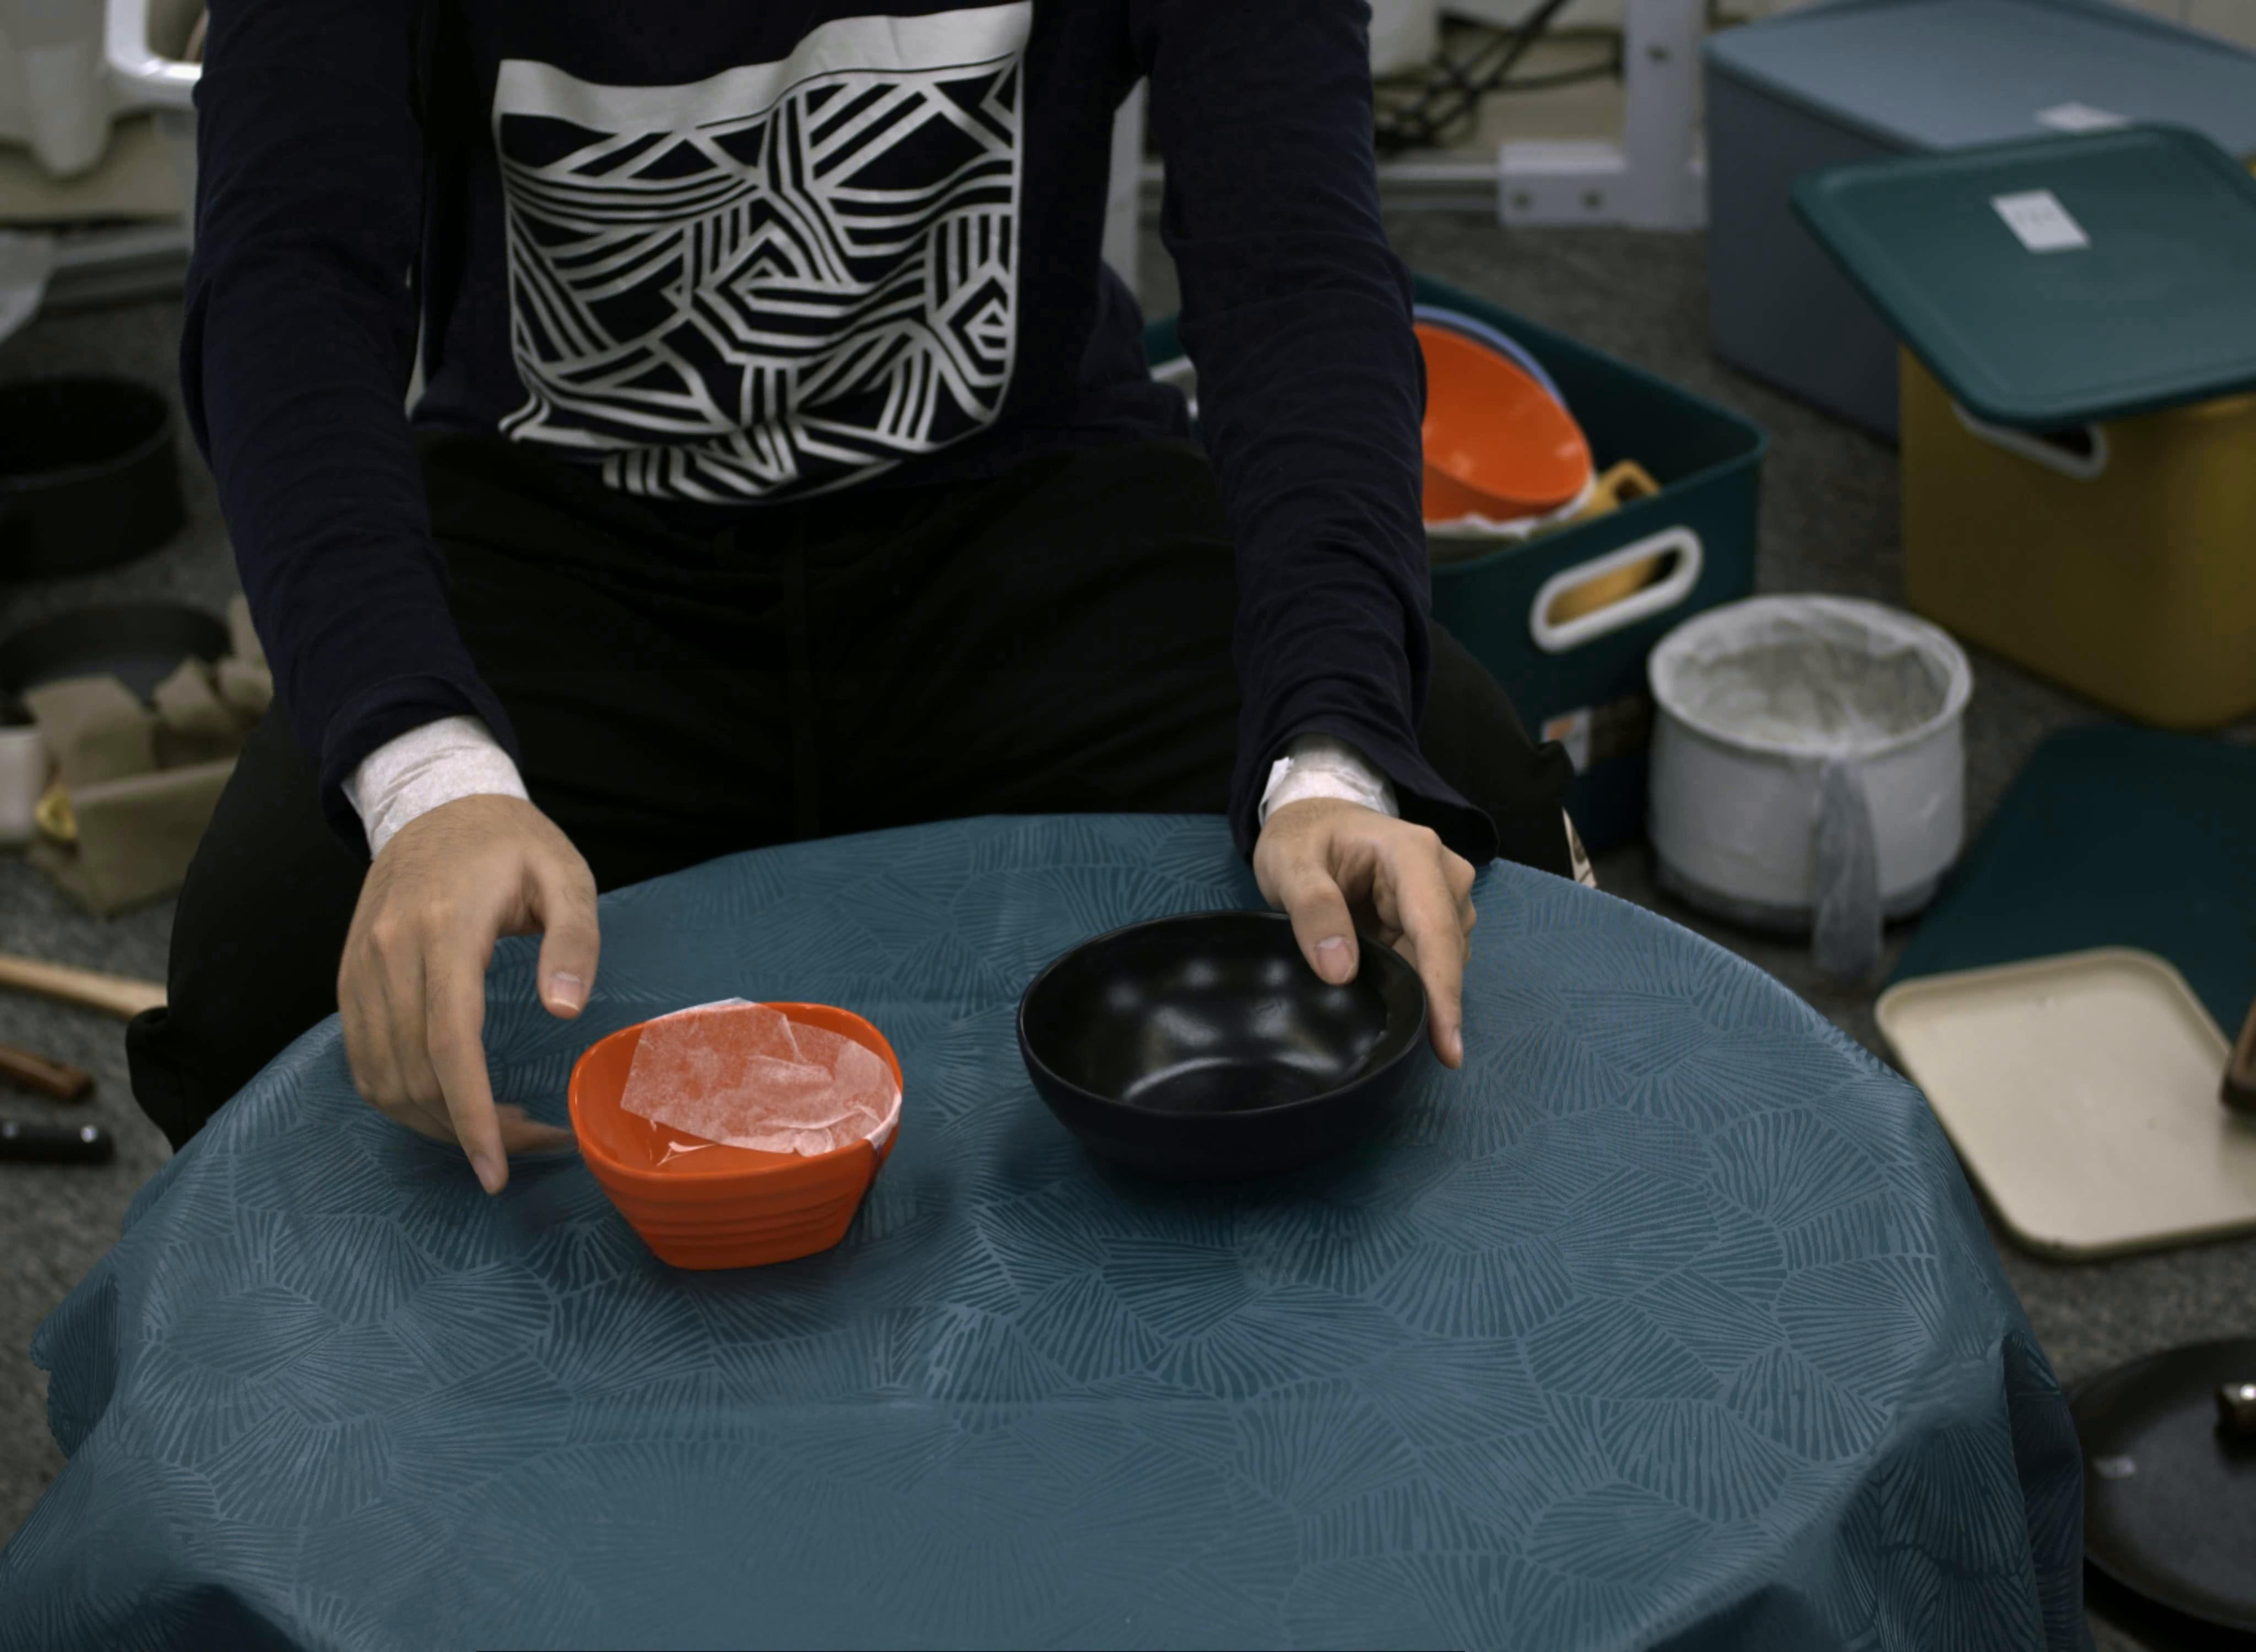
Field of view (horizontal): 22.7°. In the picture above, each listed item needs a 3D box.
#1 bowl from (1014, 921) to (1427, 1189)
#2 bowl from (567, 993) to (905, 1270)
[{"bbox_3d":[0.032,0.084,1.883,0.139,0.049,0.142,-2,24,1],"label":"bowl"},{"bbox_3d":[-0.127,0.105,1.848,0.118,0.051,0.121,-3,29,2],"label":"bowl"}]
